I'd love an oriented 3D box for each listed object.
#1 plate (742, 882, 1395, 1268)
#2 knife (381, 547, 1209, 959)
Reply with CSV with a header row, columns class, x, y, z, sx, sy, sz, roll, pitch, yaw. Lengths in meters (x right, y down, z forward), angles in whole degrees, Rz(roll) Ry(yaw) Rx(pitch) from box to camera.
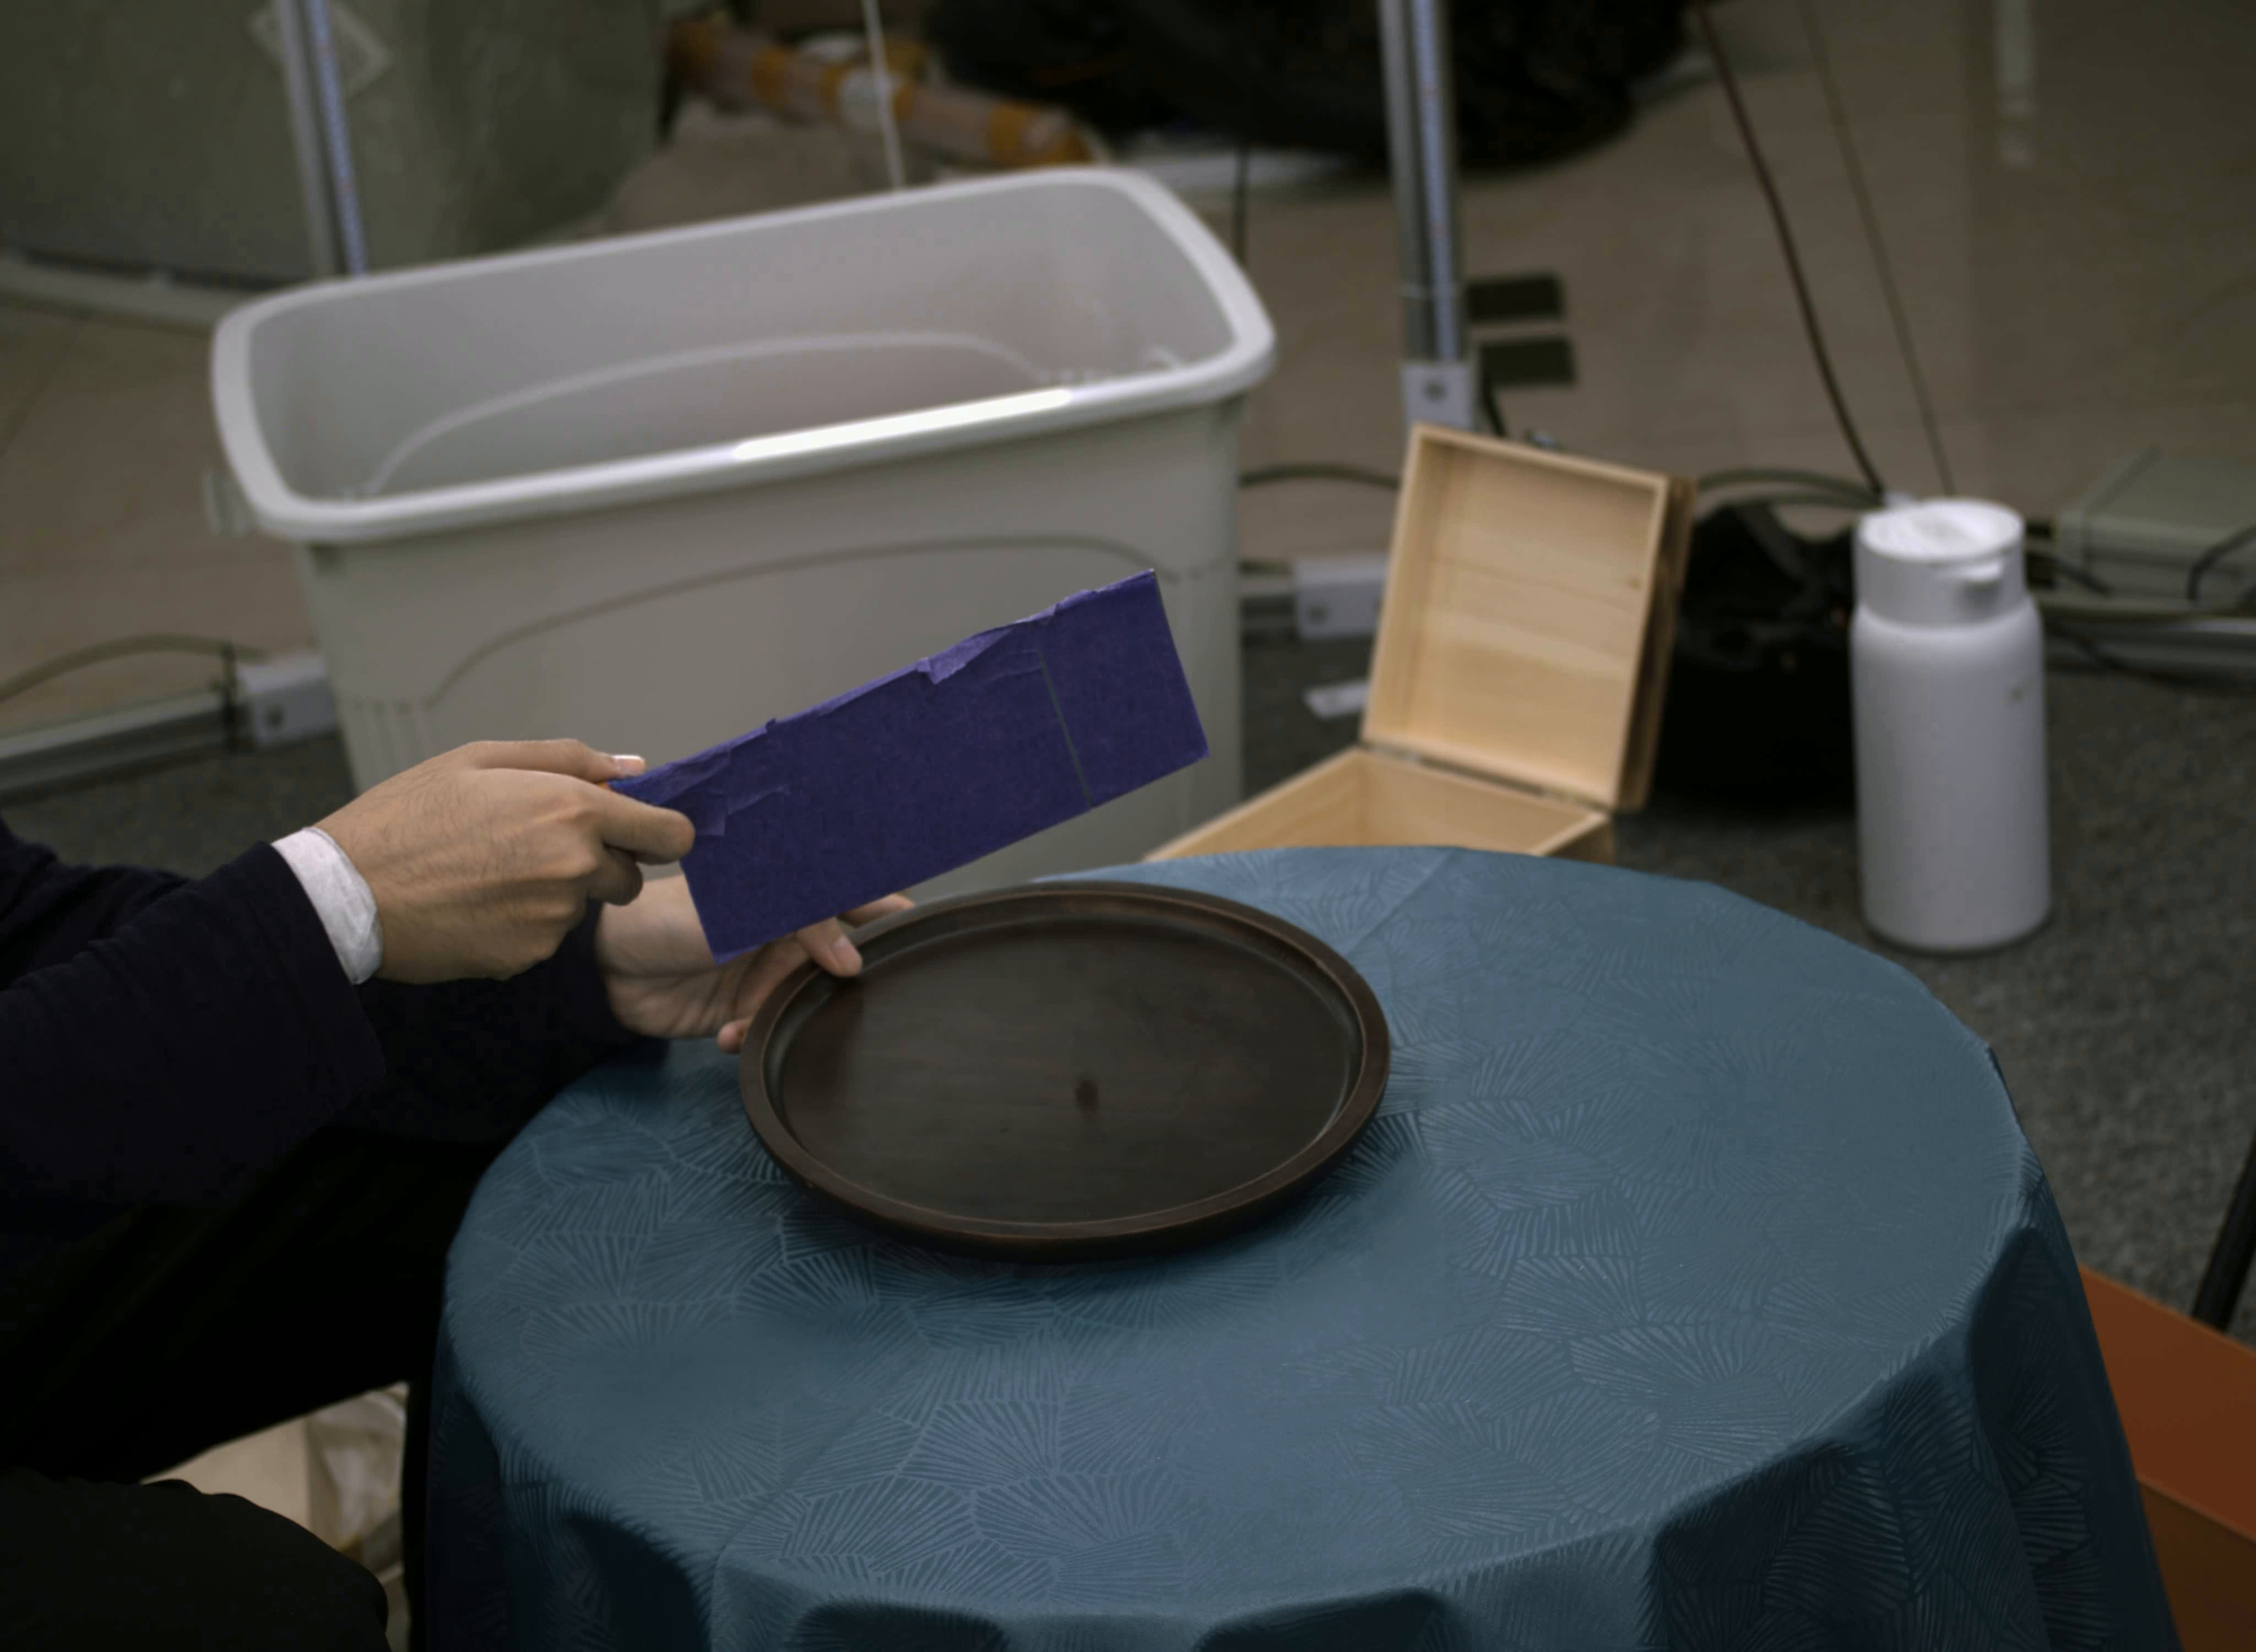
class,x,y,z,sx,sy,sz,roll,pitch,yaw
plate,-0.023,0.094,2.190,0.254,0.029,0.250,-1,31,1
knife,-0.118,-0.003,2.110,0.314,0.106,0.032,-22,33,-7
